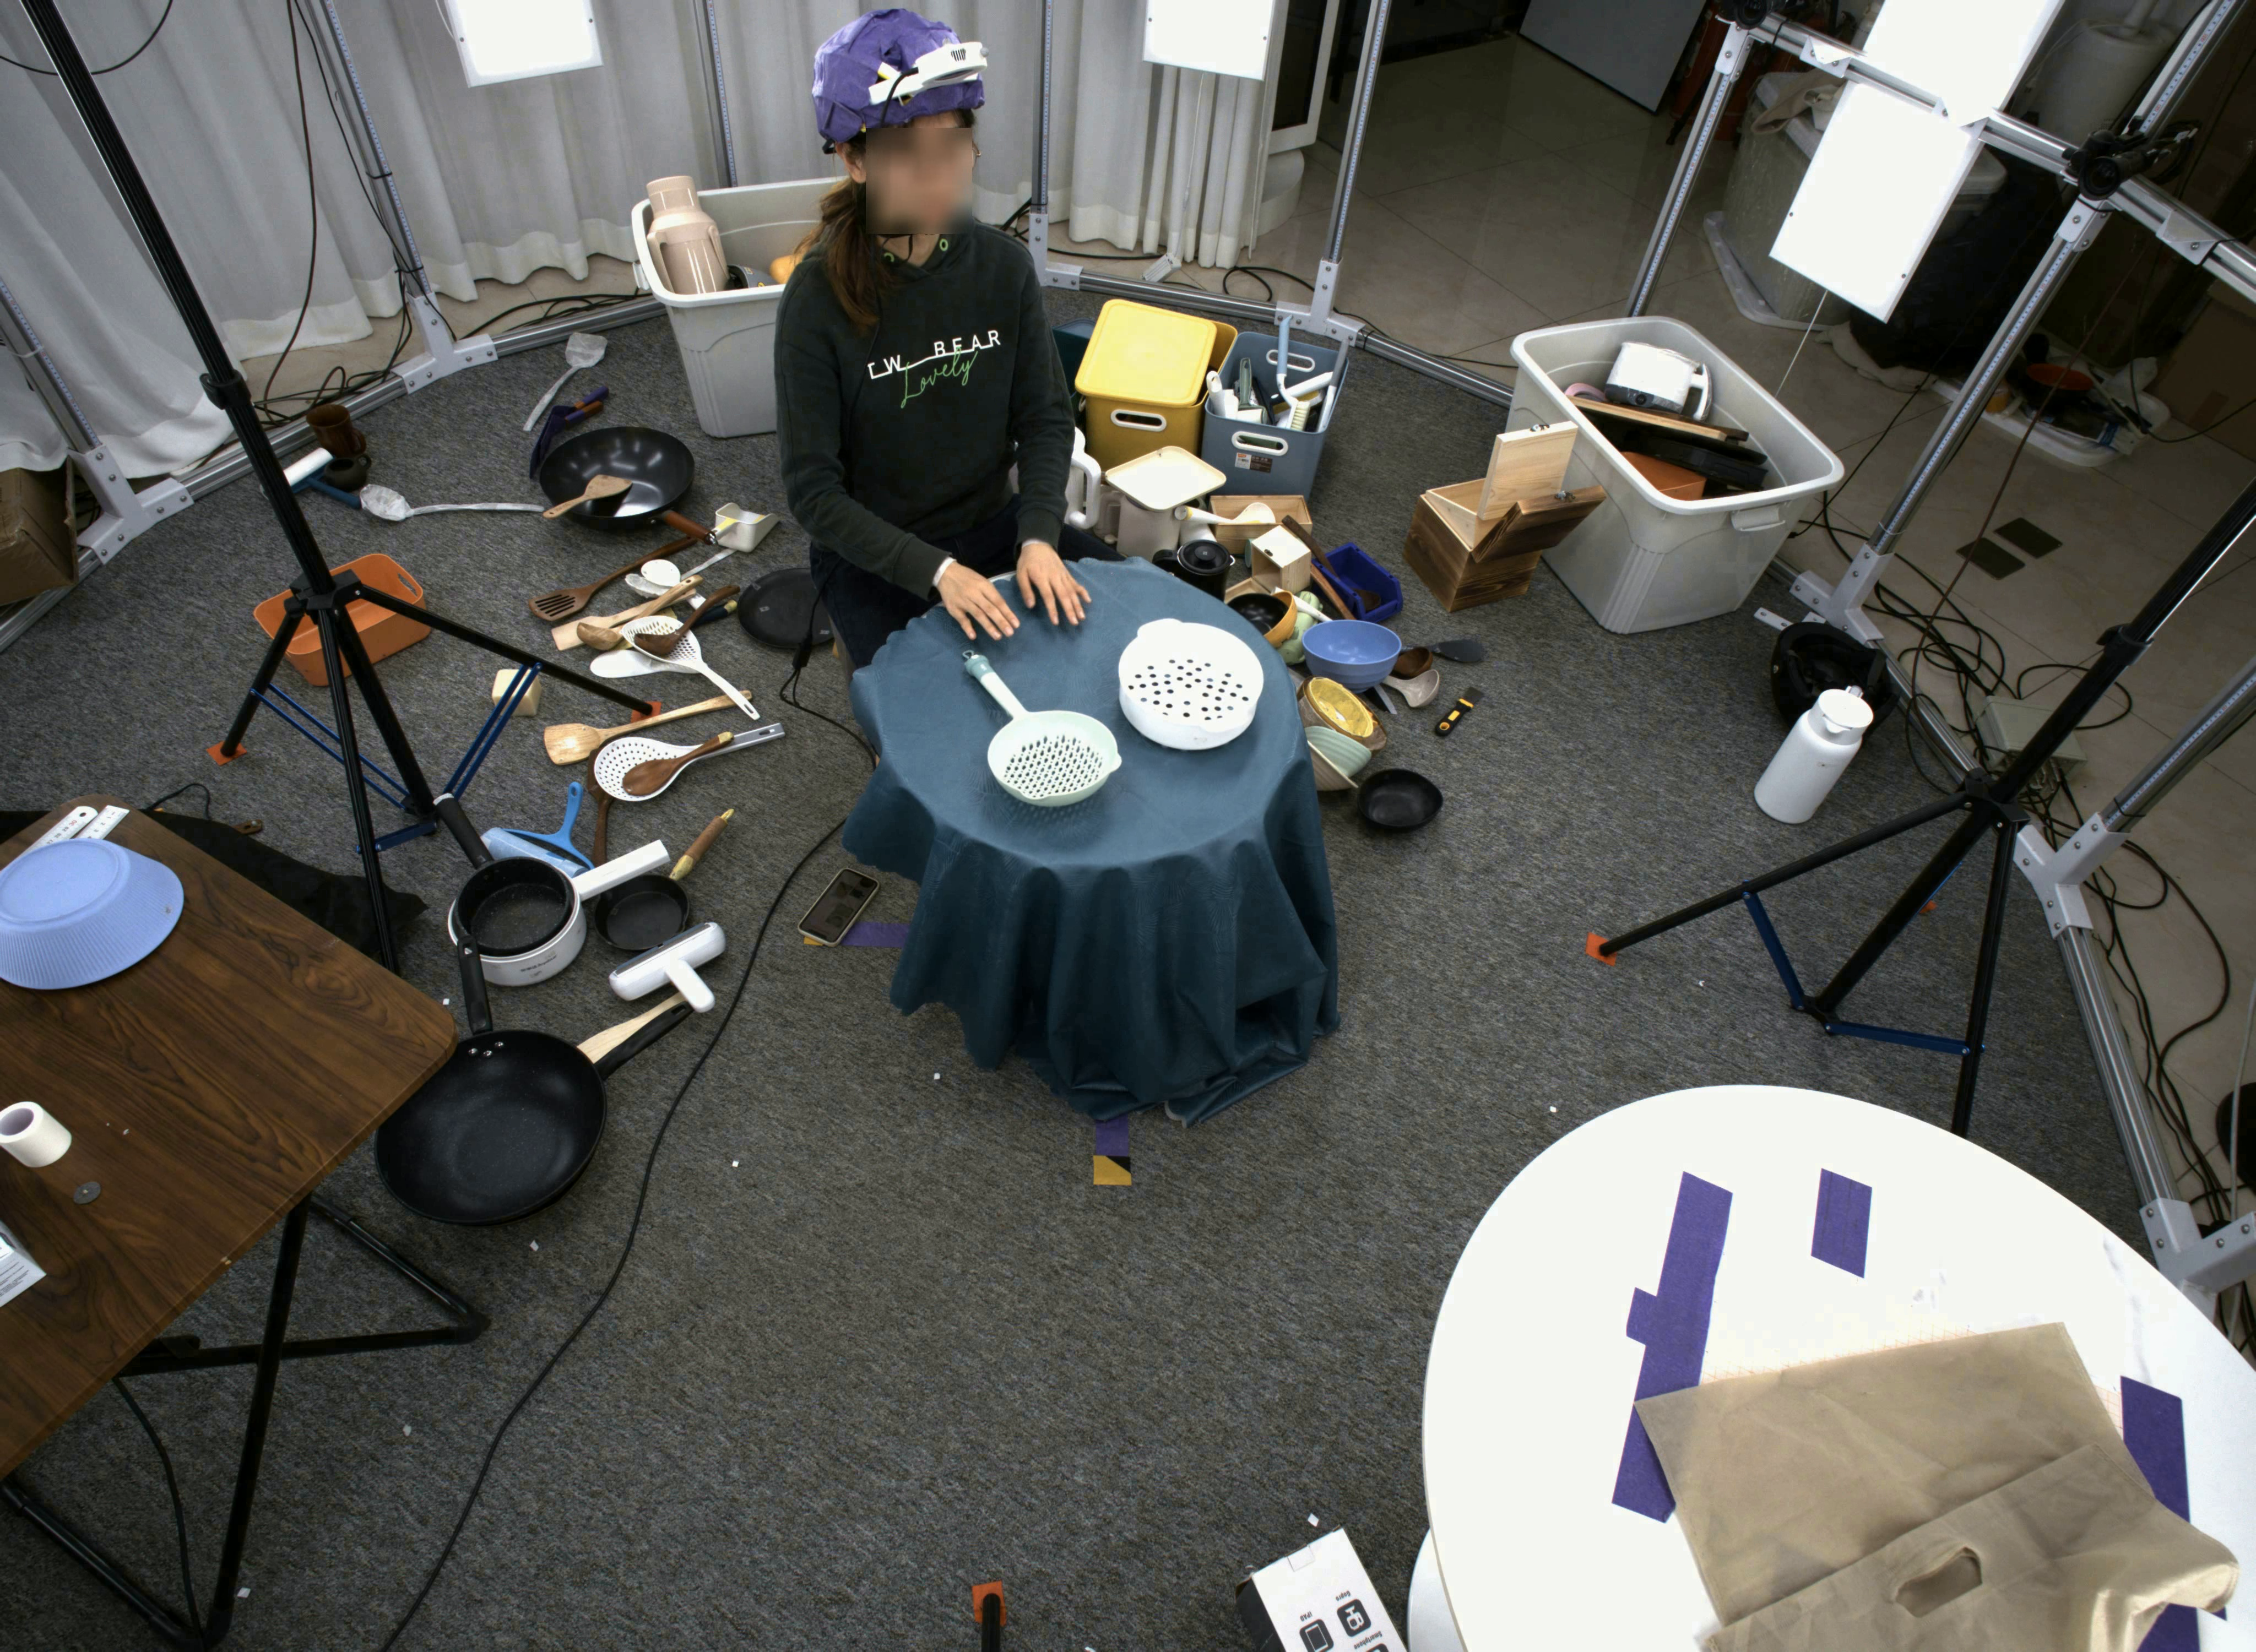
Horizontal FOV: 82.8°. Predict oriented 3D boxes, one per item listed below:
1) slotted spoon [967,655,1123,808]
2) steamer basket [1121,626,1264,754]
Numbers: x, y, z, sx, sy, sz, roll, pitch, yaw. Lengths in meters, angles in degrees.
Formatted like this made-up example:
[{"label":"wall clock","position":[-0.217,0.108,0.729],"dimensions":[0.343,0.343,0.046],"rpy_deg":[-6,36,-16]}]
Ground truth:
[{"label":"slotted spoon","position":[-0.144,-0.145,1.759],"dimensions":[0.170,0.073,0.366],"rpy_deg":[-21,53,-19]},{"label":"steamer basket","position":[0.089,-0.189,1.814],"dimensions":[0.202,0.067,0.236],"rpy_deg":[-18,52,-20]}]
